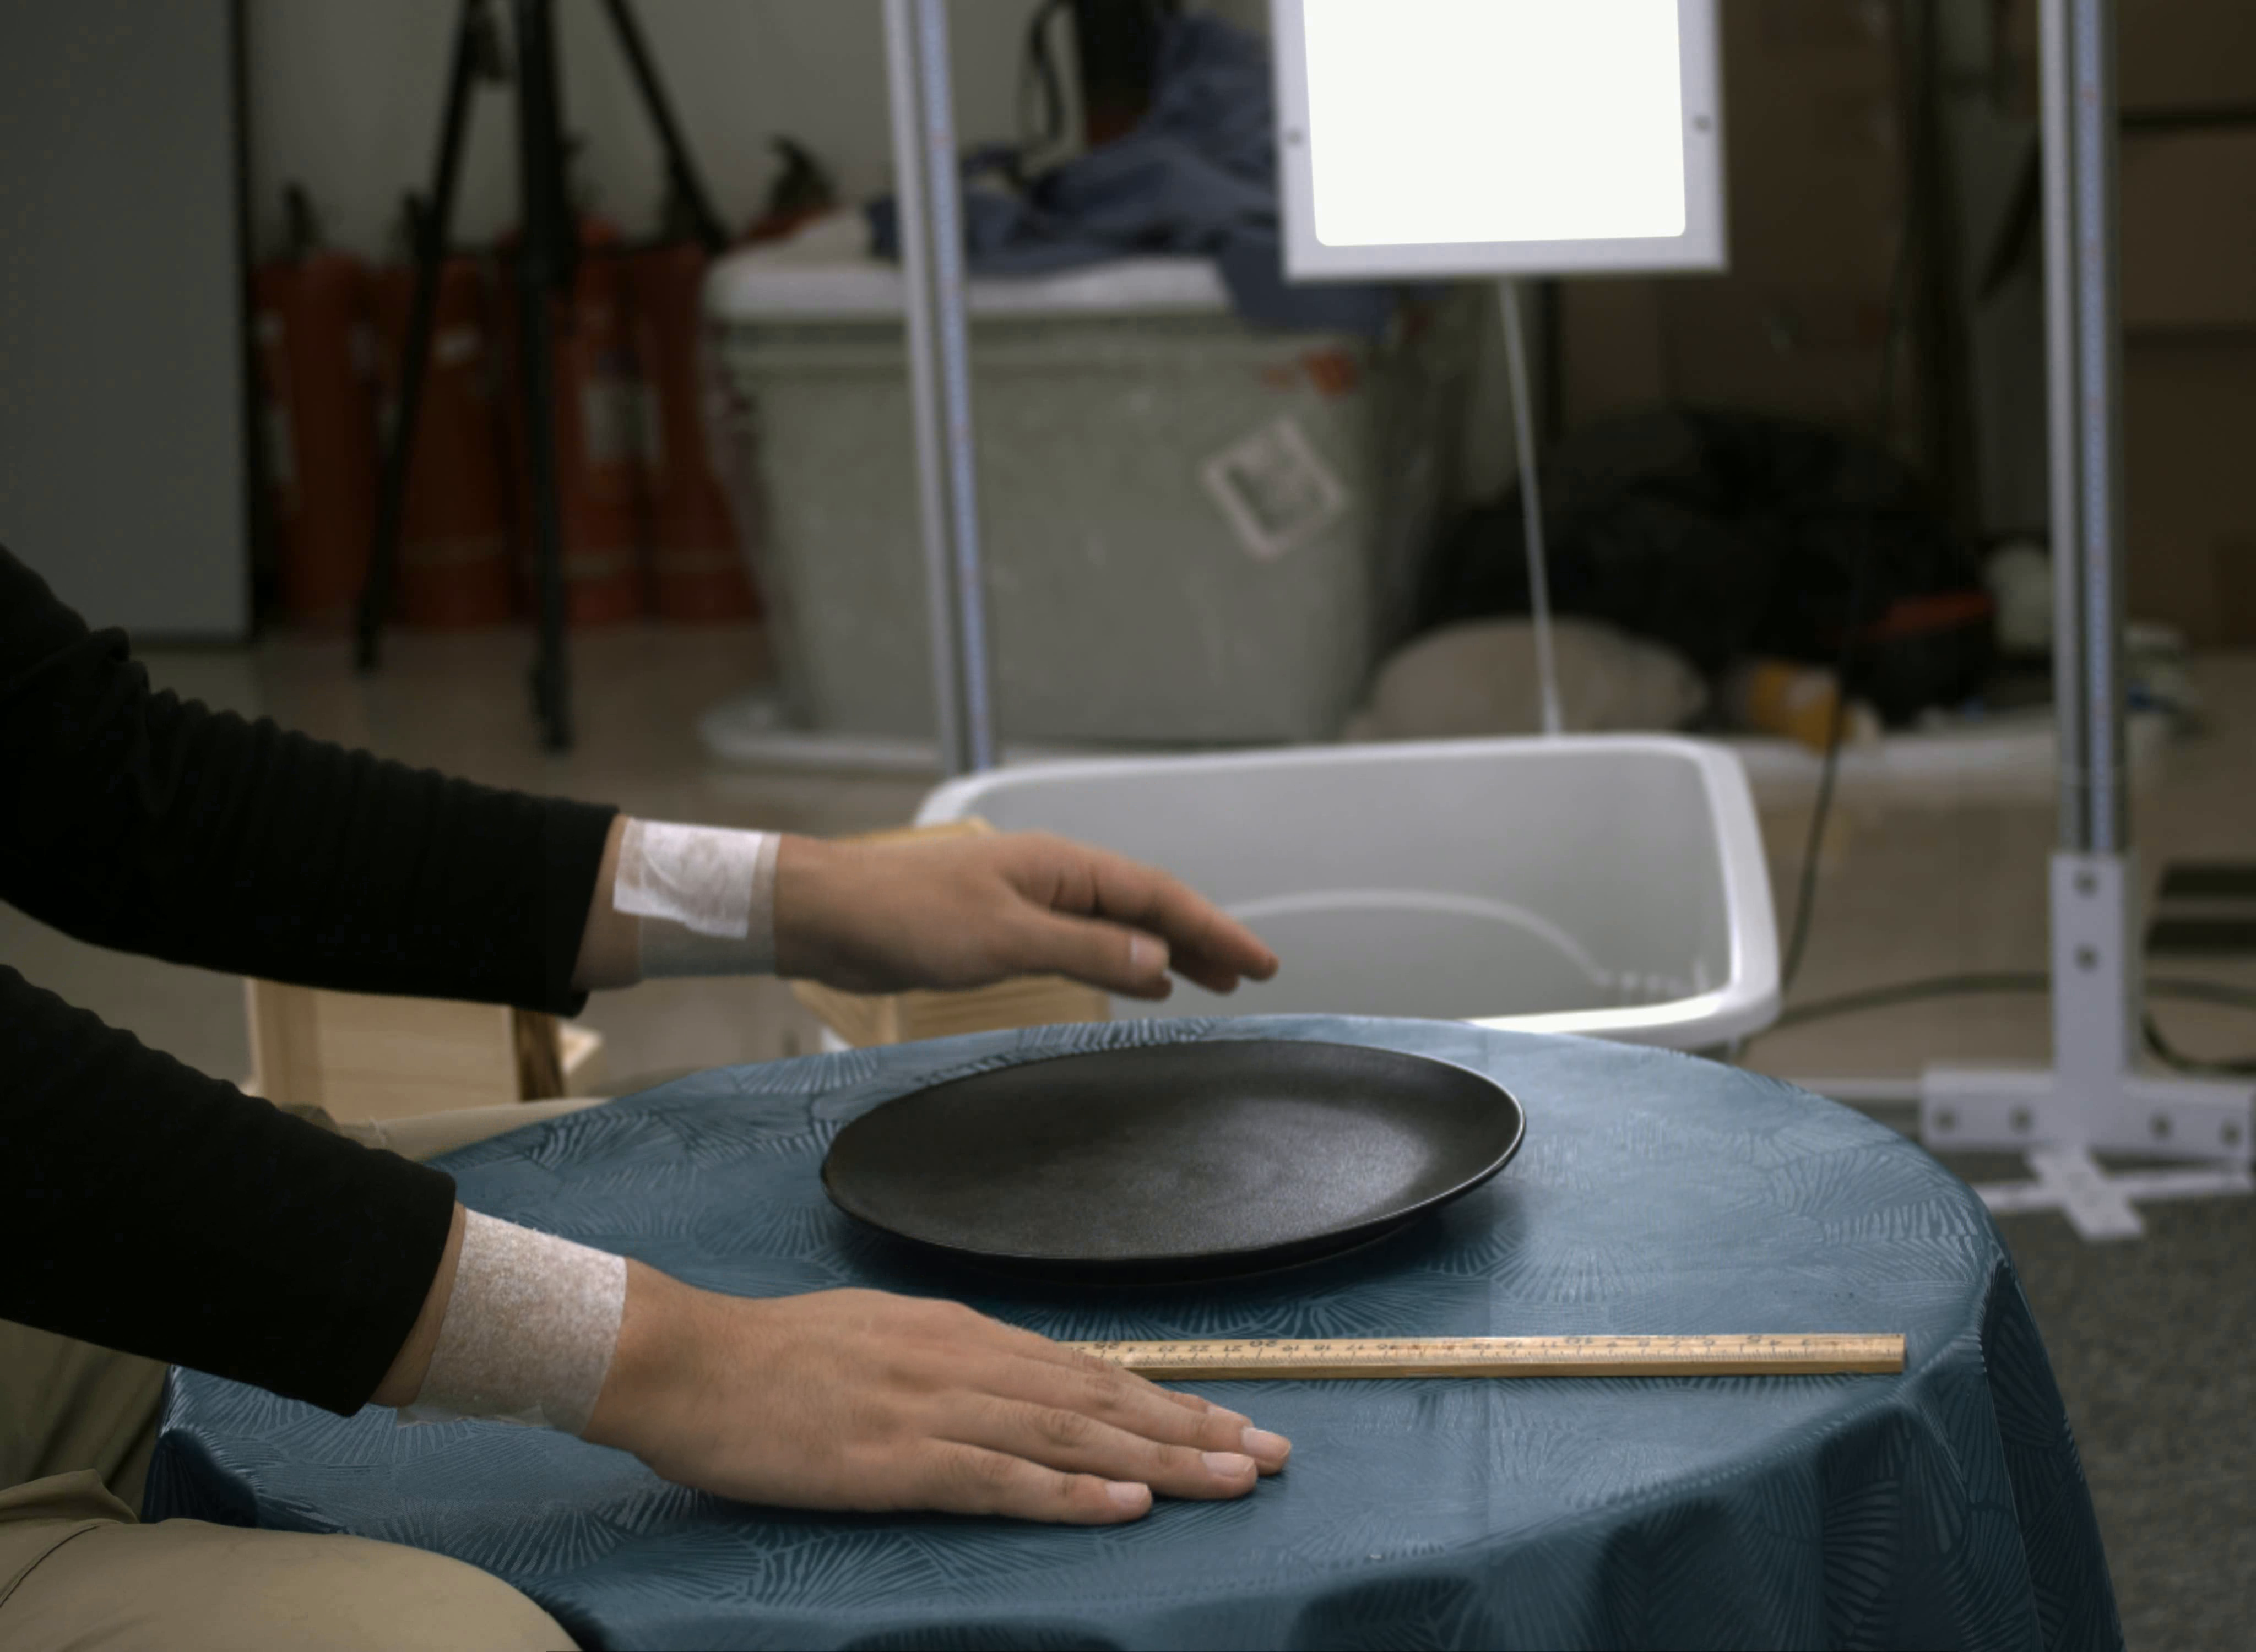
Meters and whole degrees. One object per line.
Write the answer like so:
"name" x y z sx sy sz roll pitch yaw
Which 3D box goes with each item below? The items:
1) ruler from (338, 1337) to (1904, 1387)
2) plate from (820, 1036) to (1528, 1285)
"ruler" -0.007 0.167 1.724 0.505 0.006 0.026 -2 13 14
"plate" 0.016 0.117 1.882 0.244 0.023 0.244 -5 14 0
